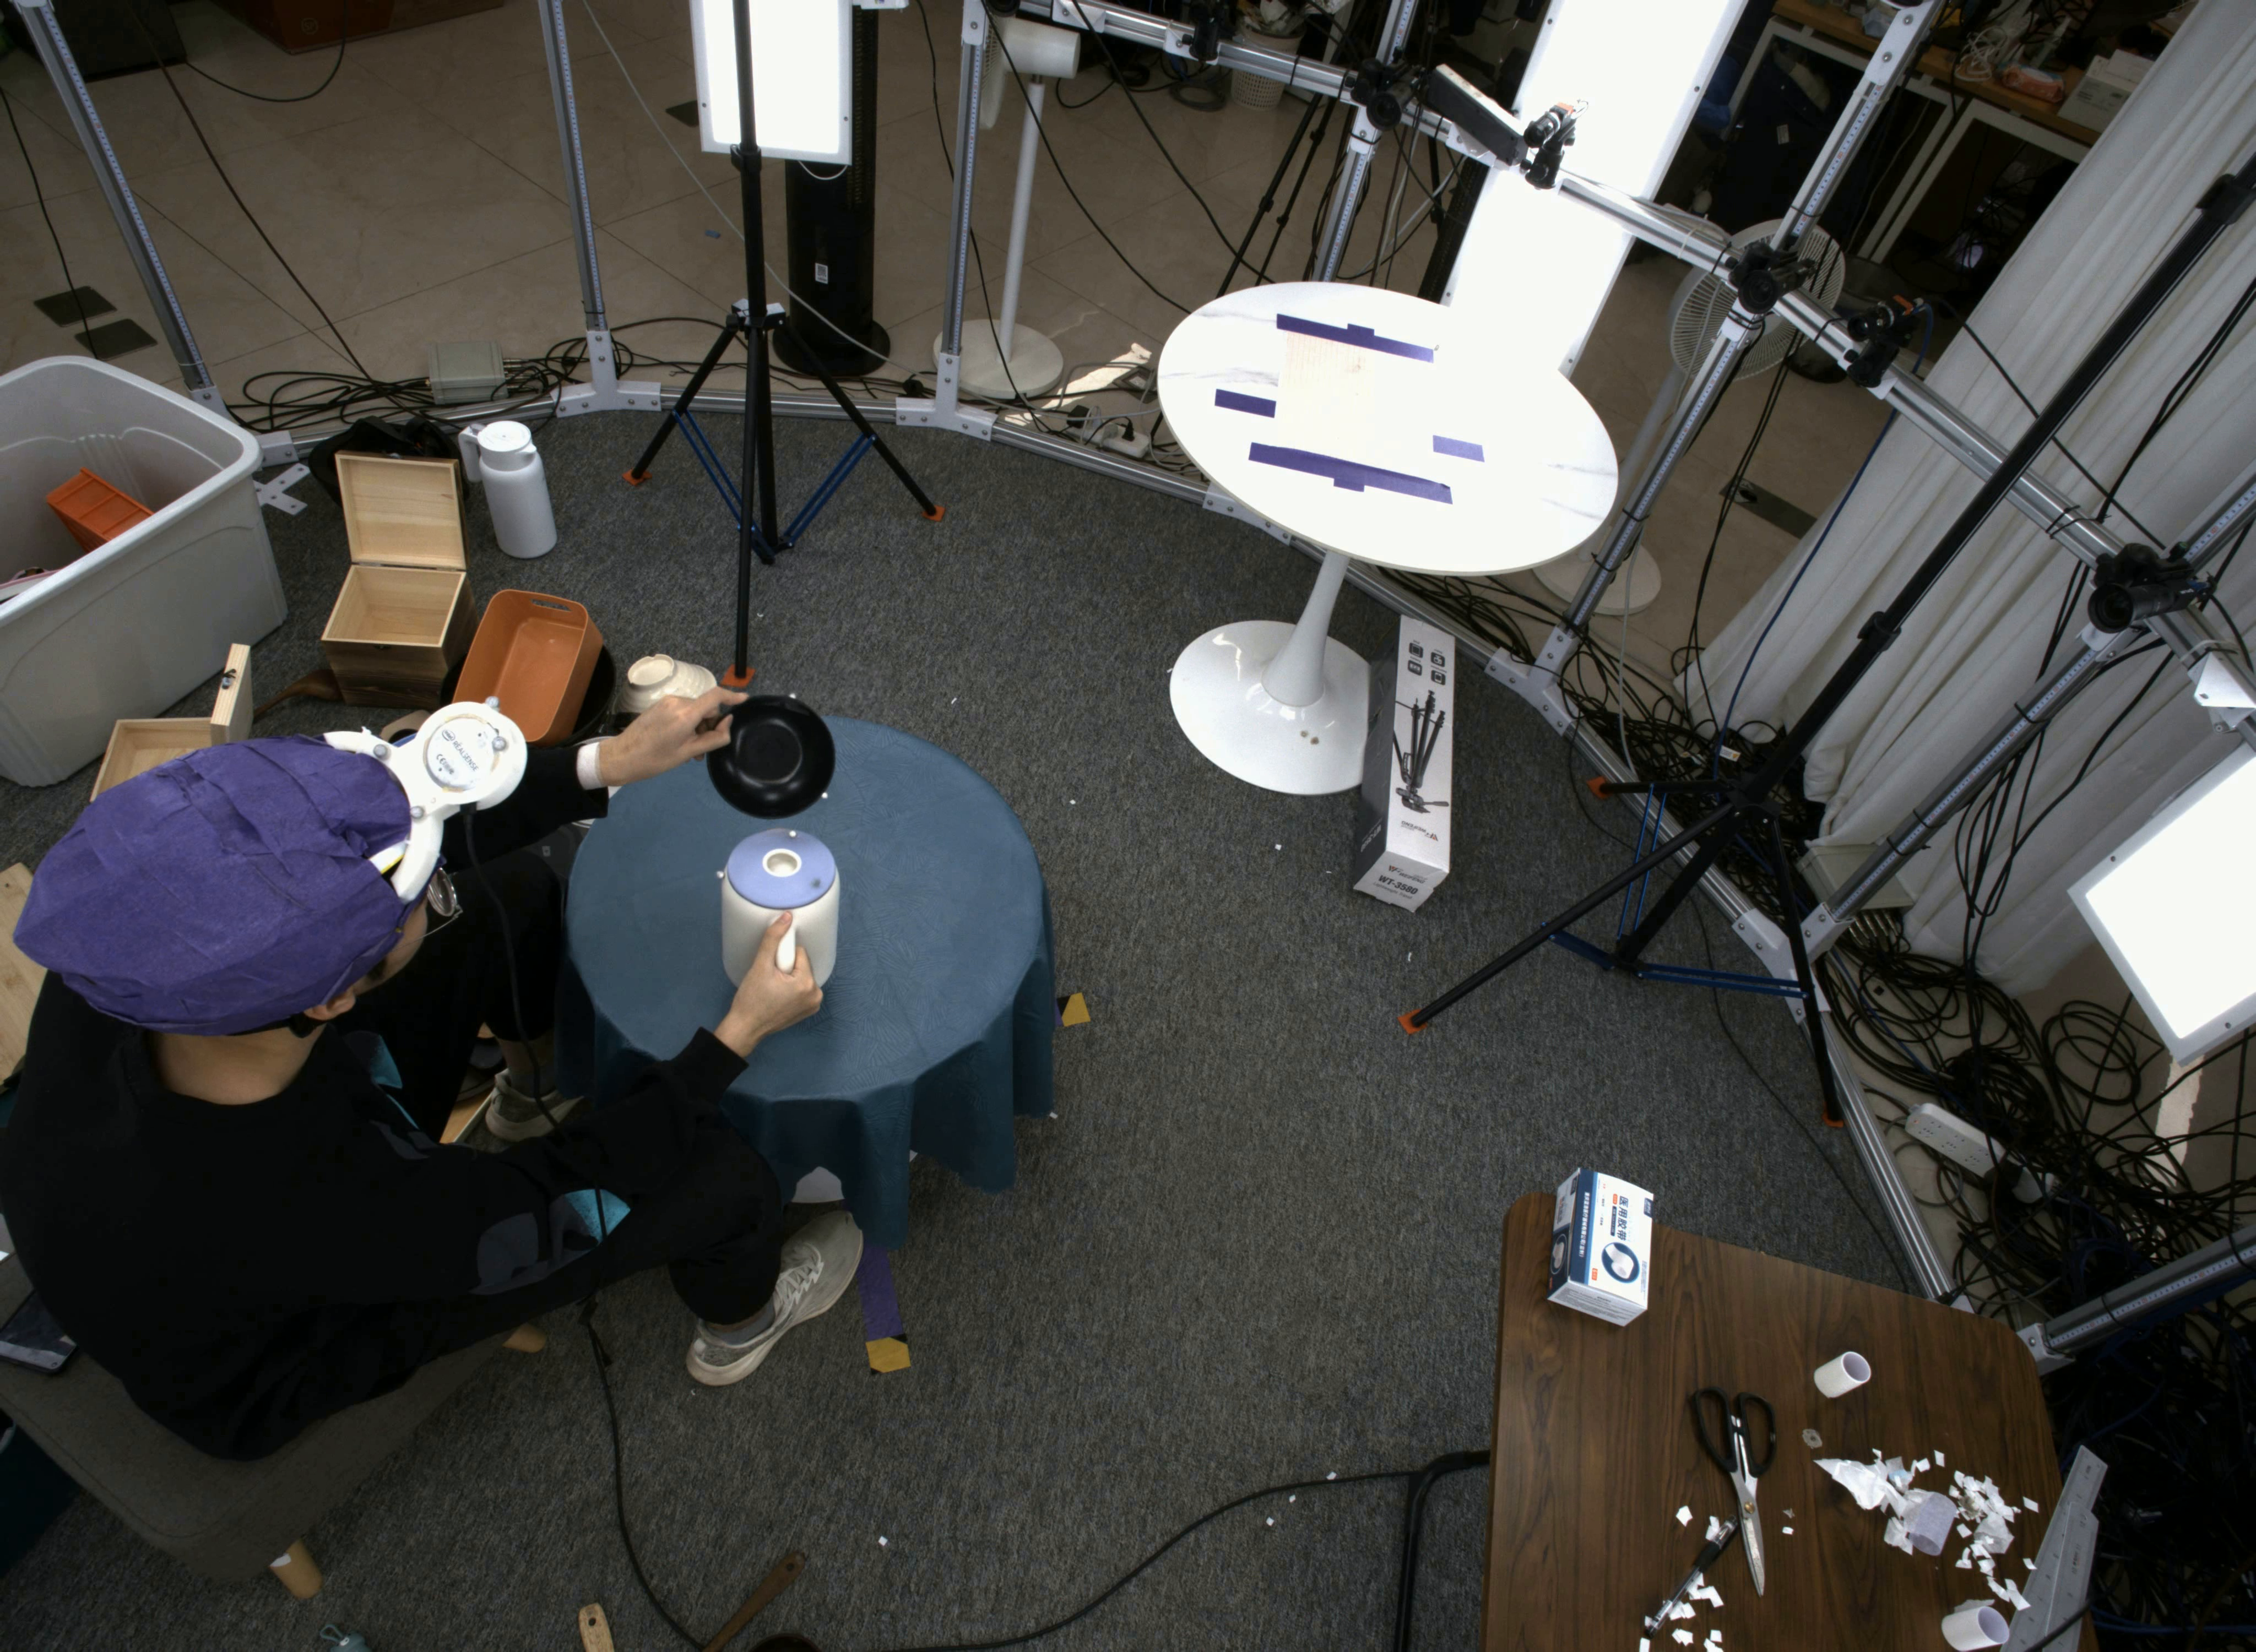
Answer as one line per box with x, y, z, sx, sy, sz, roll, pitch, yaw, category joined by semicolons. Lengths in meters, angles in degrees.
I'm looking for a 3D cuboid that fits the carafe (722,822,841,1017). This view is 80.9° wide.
-0.391;0.118;1.479;0.133;0.186;0.186;-6;53;-18;carafe

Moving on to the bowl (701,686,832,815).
-0.399;-0.086;1.427;0.140;0.143;0.048;-4;13;-17;bowl
